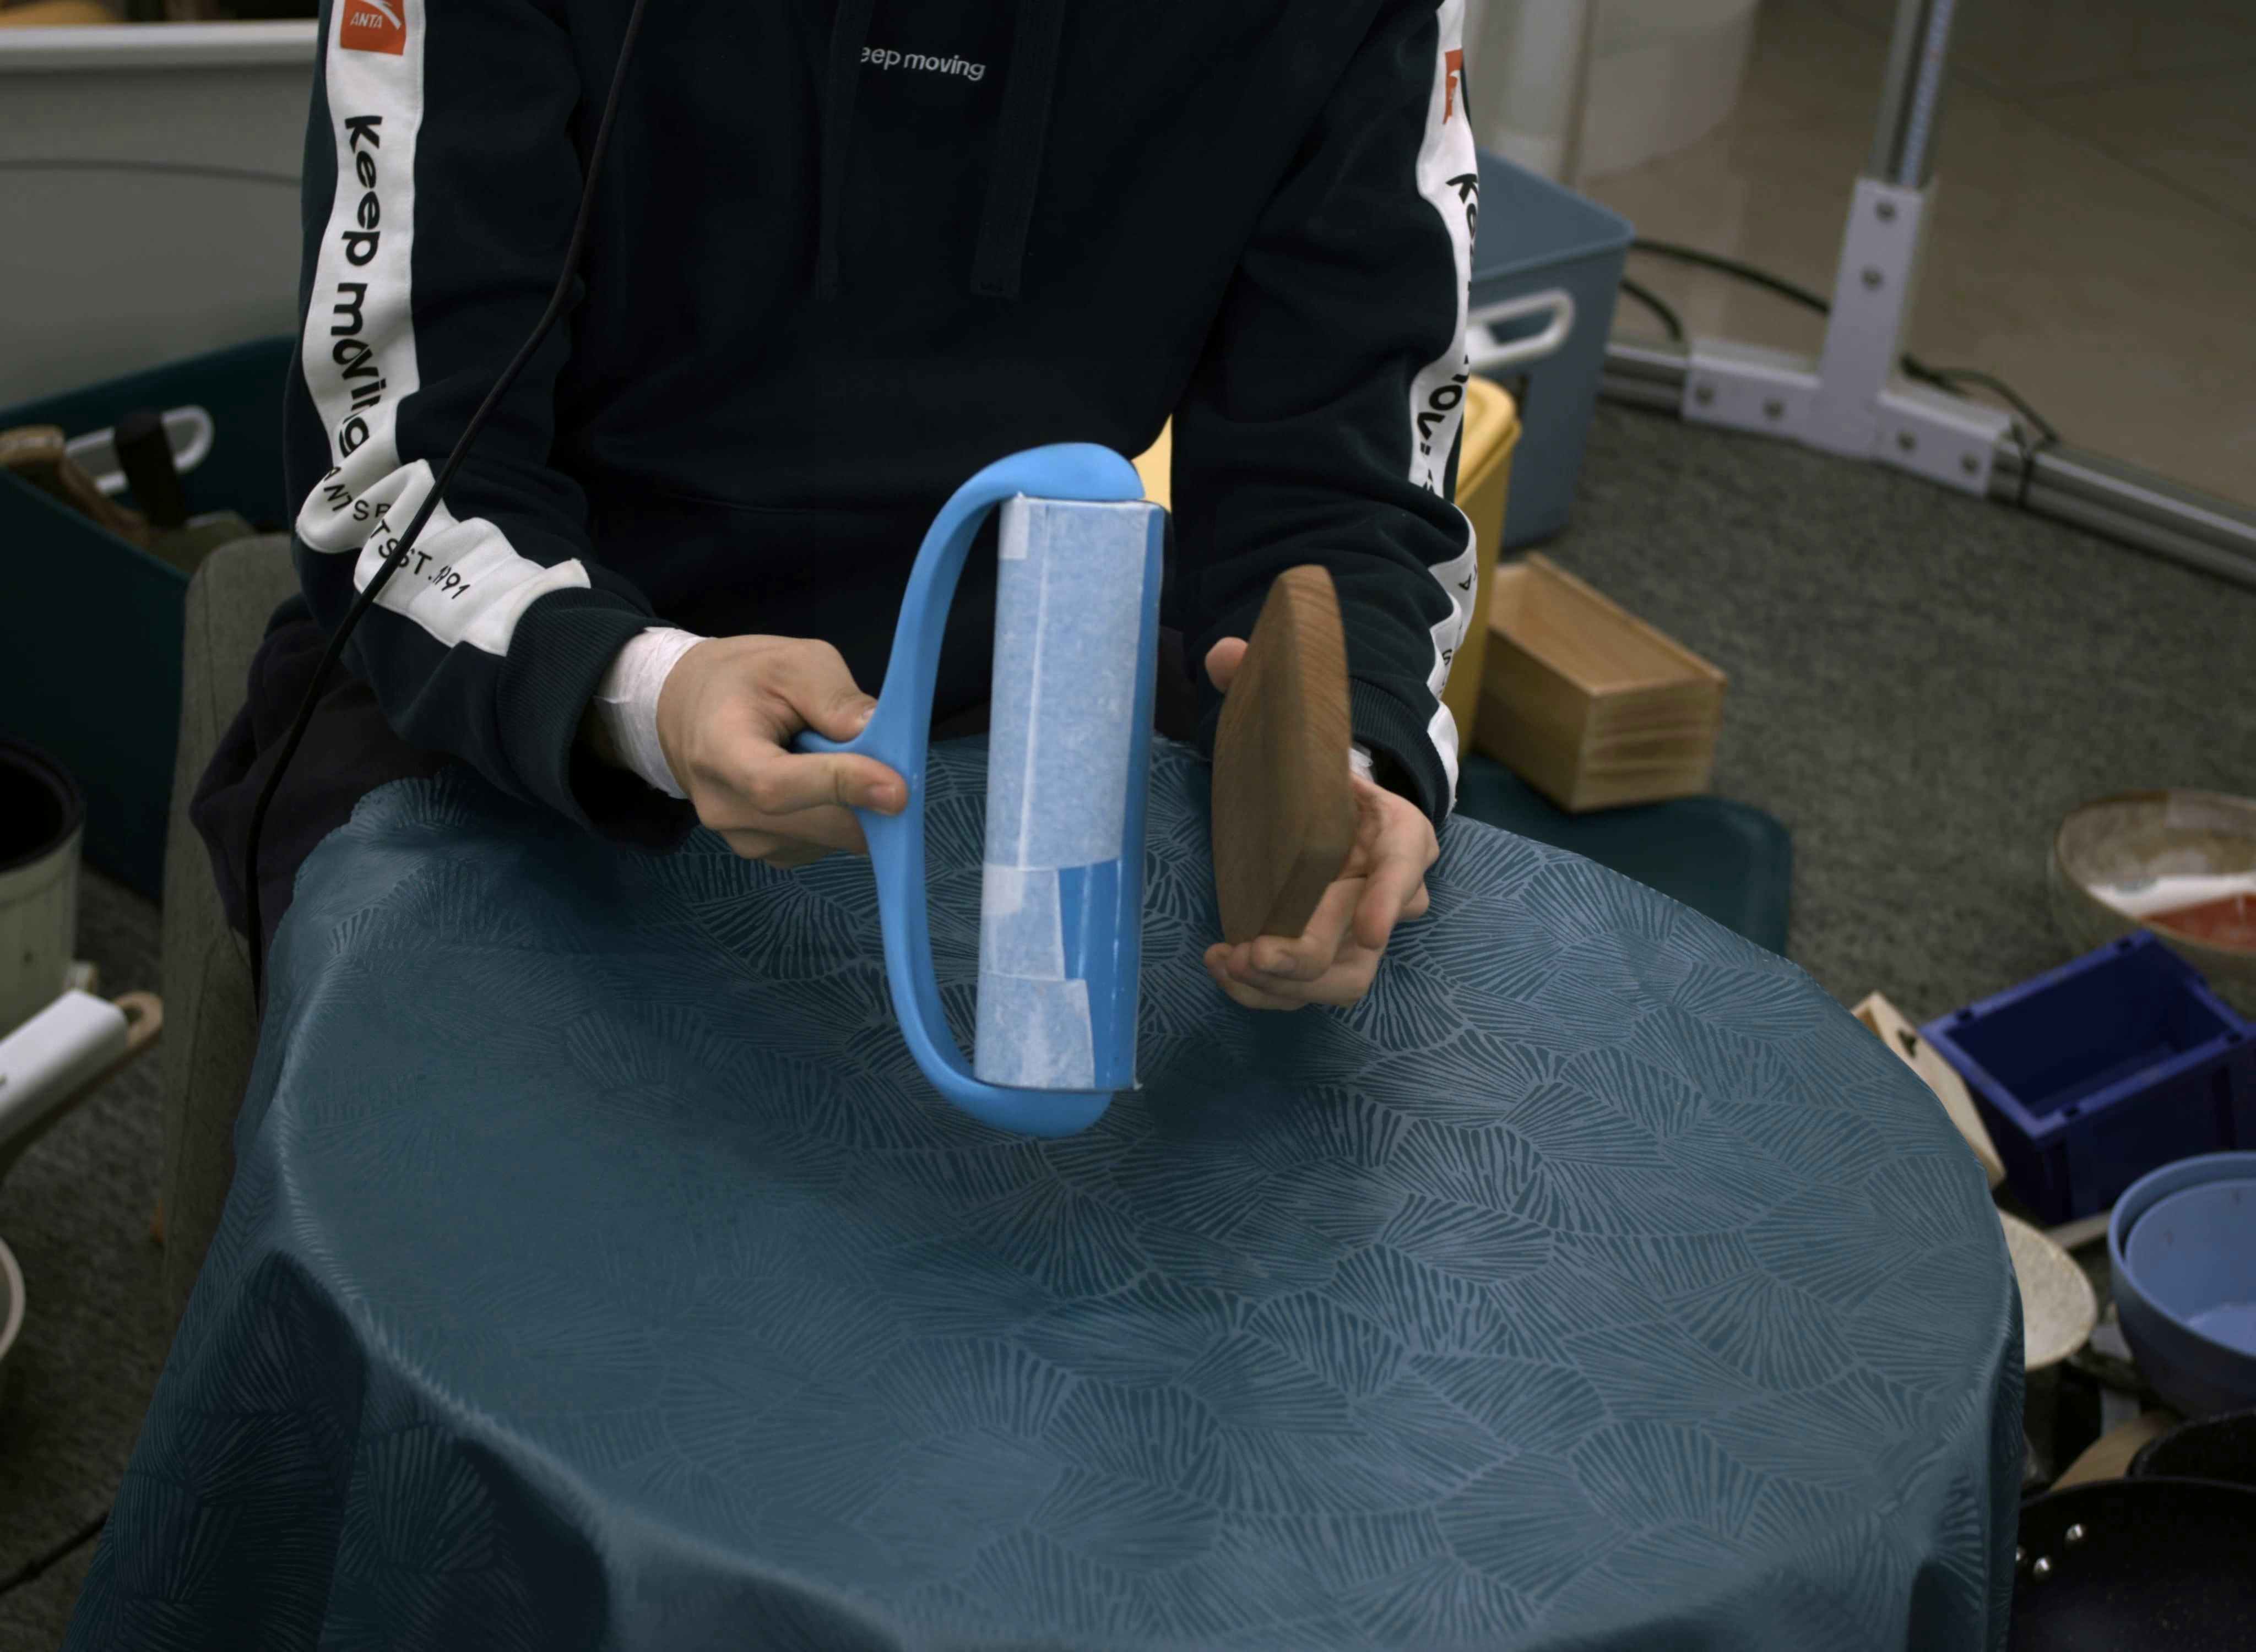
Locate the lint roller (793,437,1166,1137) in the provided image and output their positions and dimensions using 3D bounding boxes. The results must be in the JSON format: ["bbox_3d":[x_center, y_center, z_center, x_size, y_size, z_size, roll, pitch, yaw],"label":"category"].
[{"bbox_3d":[-0.064,-0.015,1.781,0.181,0.229,0.067,2,3,42],"label":"lint roller"}]

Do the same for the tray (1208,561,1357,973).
[{"bbox_3d":[0.050,-0.017,1.788,0.020,0.102,0.231,-1,-16,-9],"label":"tray"}]
